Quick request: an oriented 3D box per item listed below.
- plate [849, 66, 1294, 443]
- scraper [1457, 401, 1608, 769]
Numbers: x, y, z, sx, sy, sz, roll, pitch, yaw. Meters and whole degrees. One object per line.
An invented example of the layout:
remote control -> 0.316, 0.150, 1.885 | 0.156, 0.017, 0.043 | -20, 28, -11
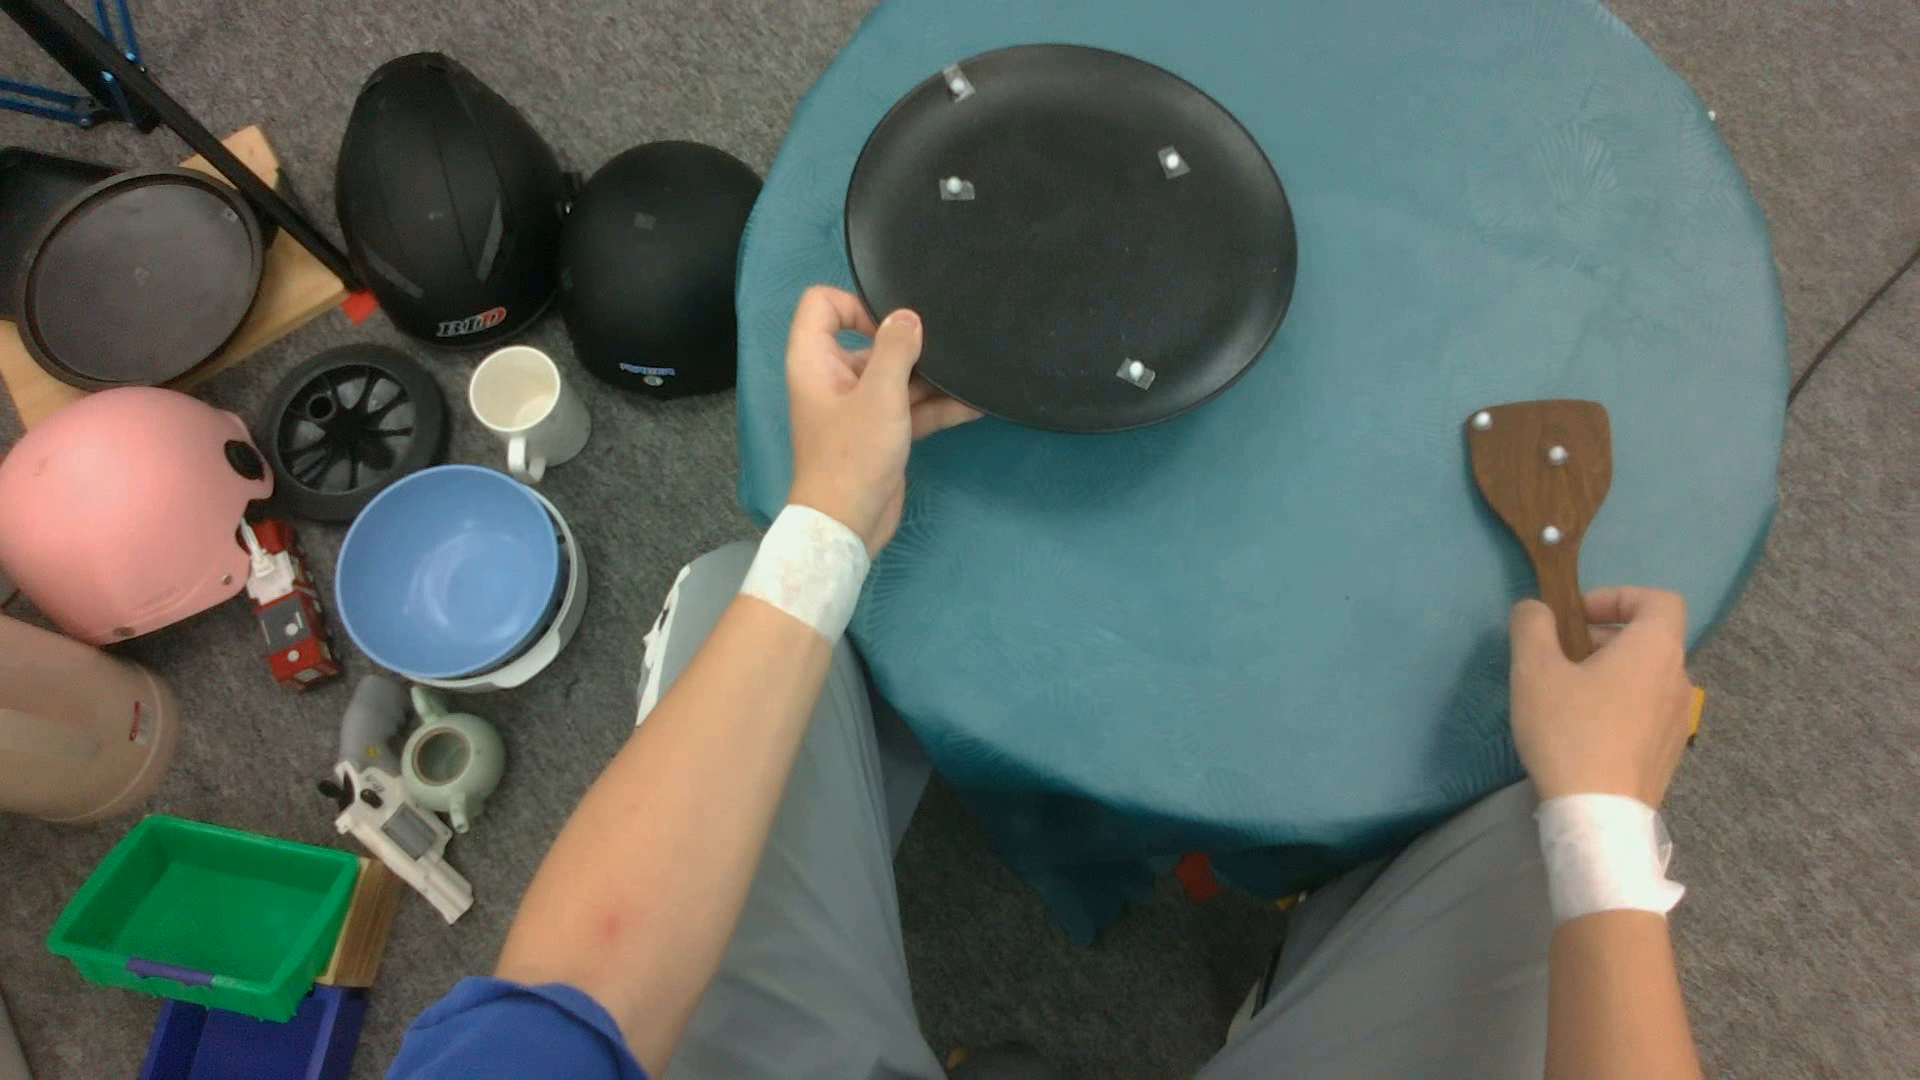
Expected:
plate -> 0.061, -0.159, 0.756 | 0.244, 0.023, 0.245 | 2, 67, -3
scraper -> 0.312, 0.019, 0.728 | 0.076, 0.011, 0.212 | -3, 63, 13
